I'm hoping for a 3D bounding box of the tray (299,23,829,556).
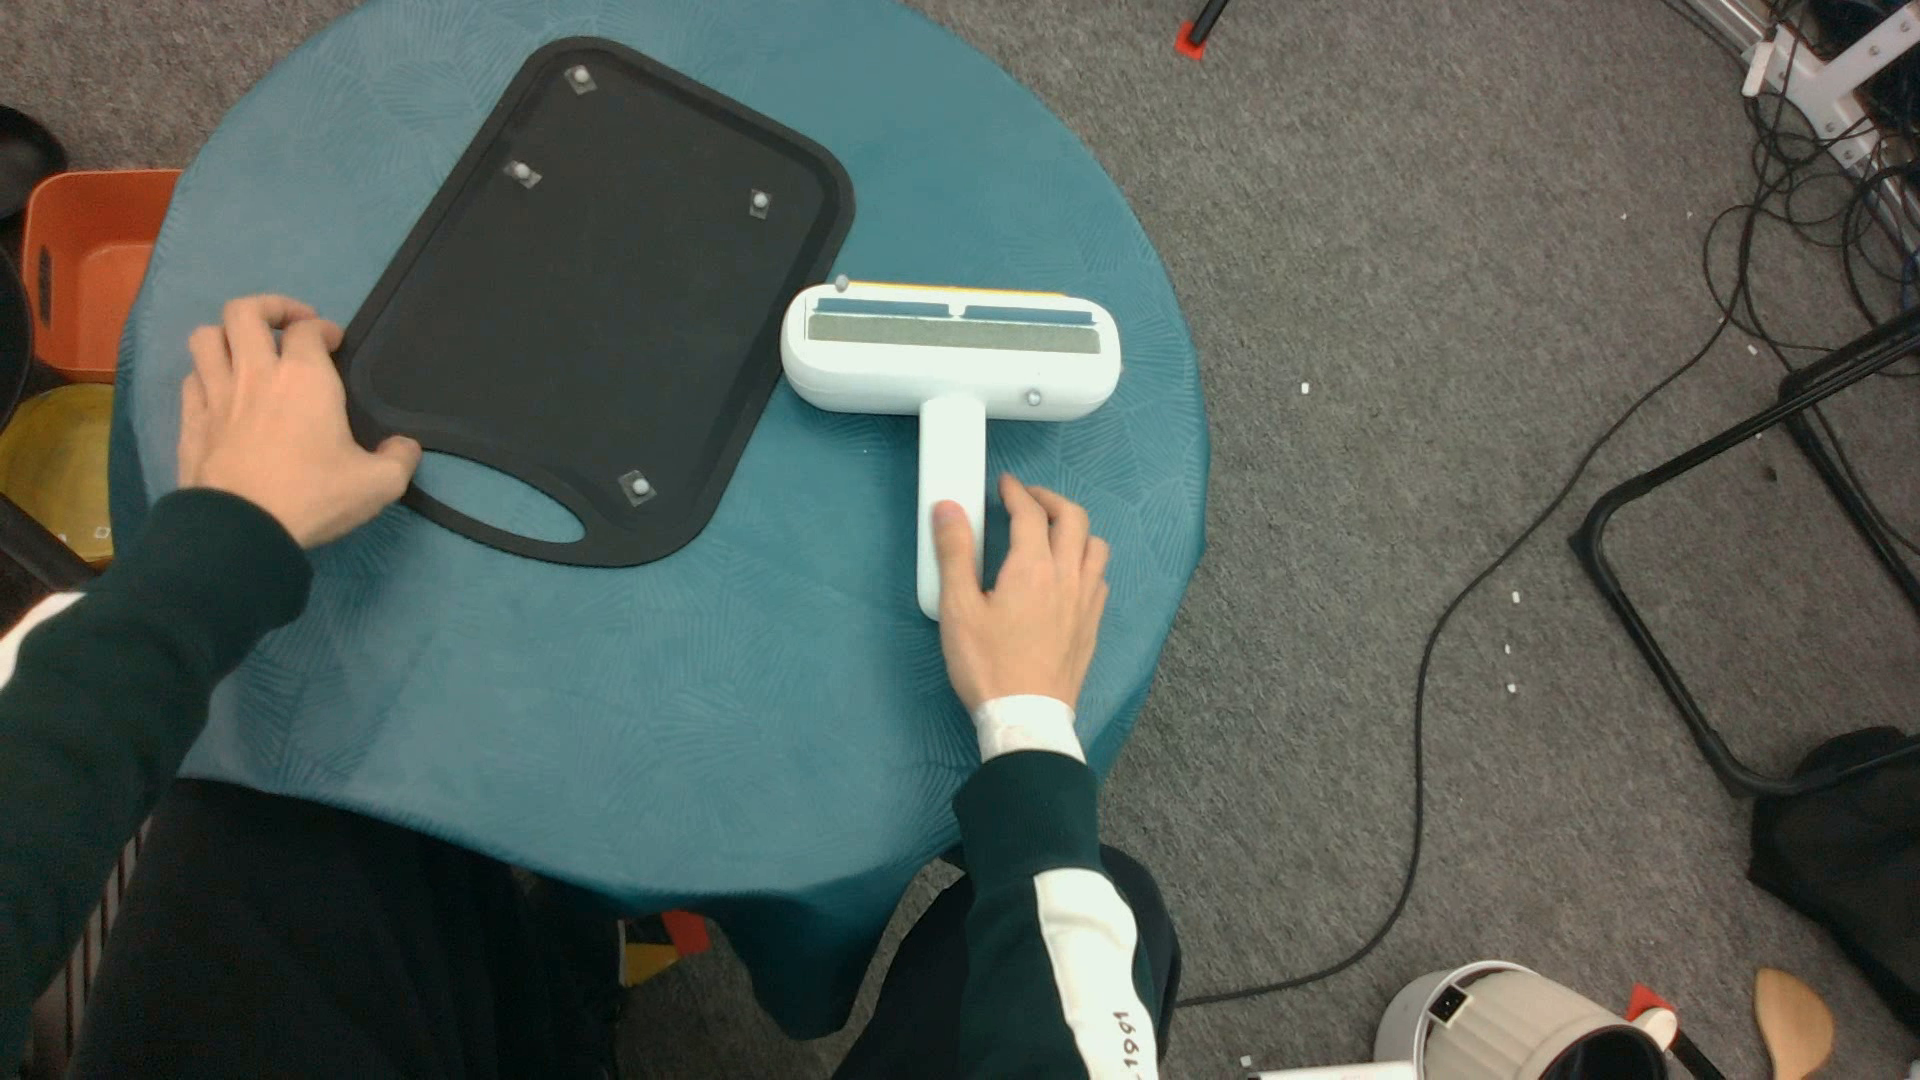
[{"bbox_3d":[-0.210,-0.145,0.768,0.211,0.010,0.327,24,64,-9],"label":"tray"}]

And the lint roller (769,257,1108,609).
[{"bbox_3d":[-0.019,-0.057,0.786,0.193,0.074,0.192,7,82,-9],"label":"lint roller"}]
